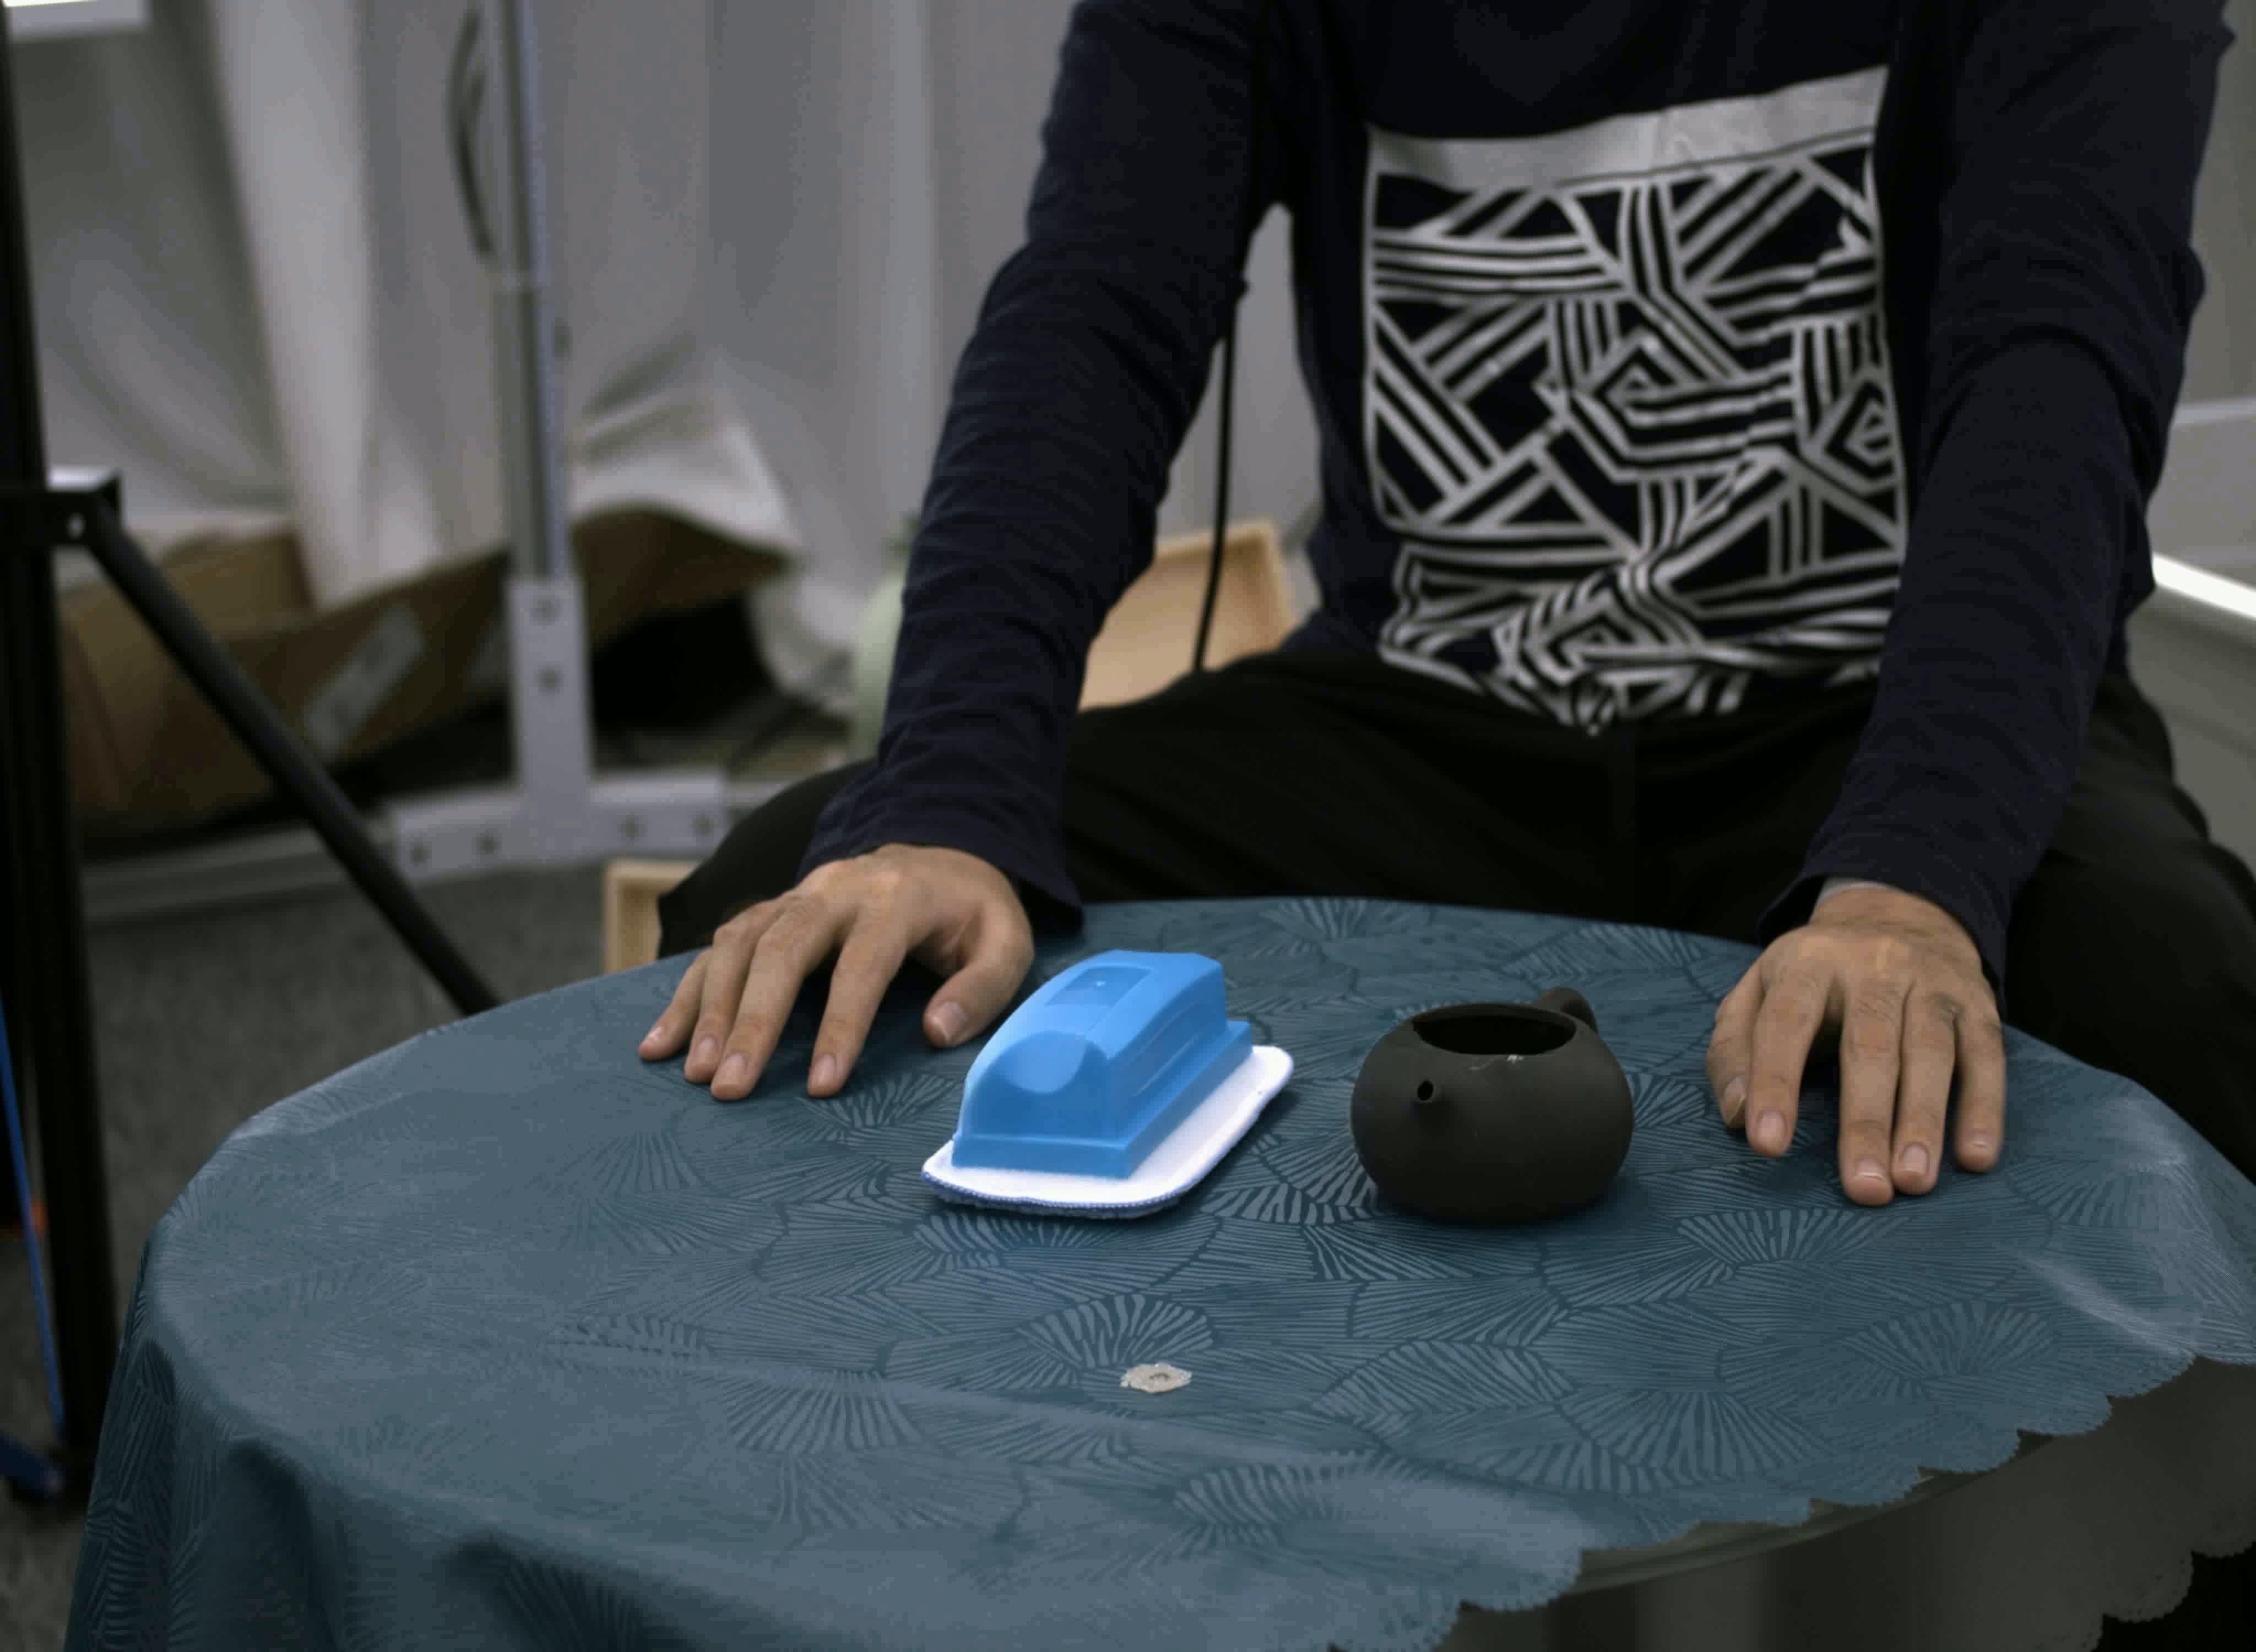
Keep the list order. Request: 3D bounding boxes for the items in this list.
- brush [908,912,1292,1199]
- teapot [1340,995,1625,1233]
[{"bbox_3d":[-0.006,0.065,1.602,0.085,0.056,0.142,8,20,20],"label":"brush"},{"bbox_3d":[0.110,0.081,1.549,0.084,0.053,0.112,12,23,31],"label":"teapot"}]
